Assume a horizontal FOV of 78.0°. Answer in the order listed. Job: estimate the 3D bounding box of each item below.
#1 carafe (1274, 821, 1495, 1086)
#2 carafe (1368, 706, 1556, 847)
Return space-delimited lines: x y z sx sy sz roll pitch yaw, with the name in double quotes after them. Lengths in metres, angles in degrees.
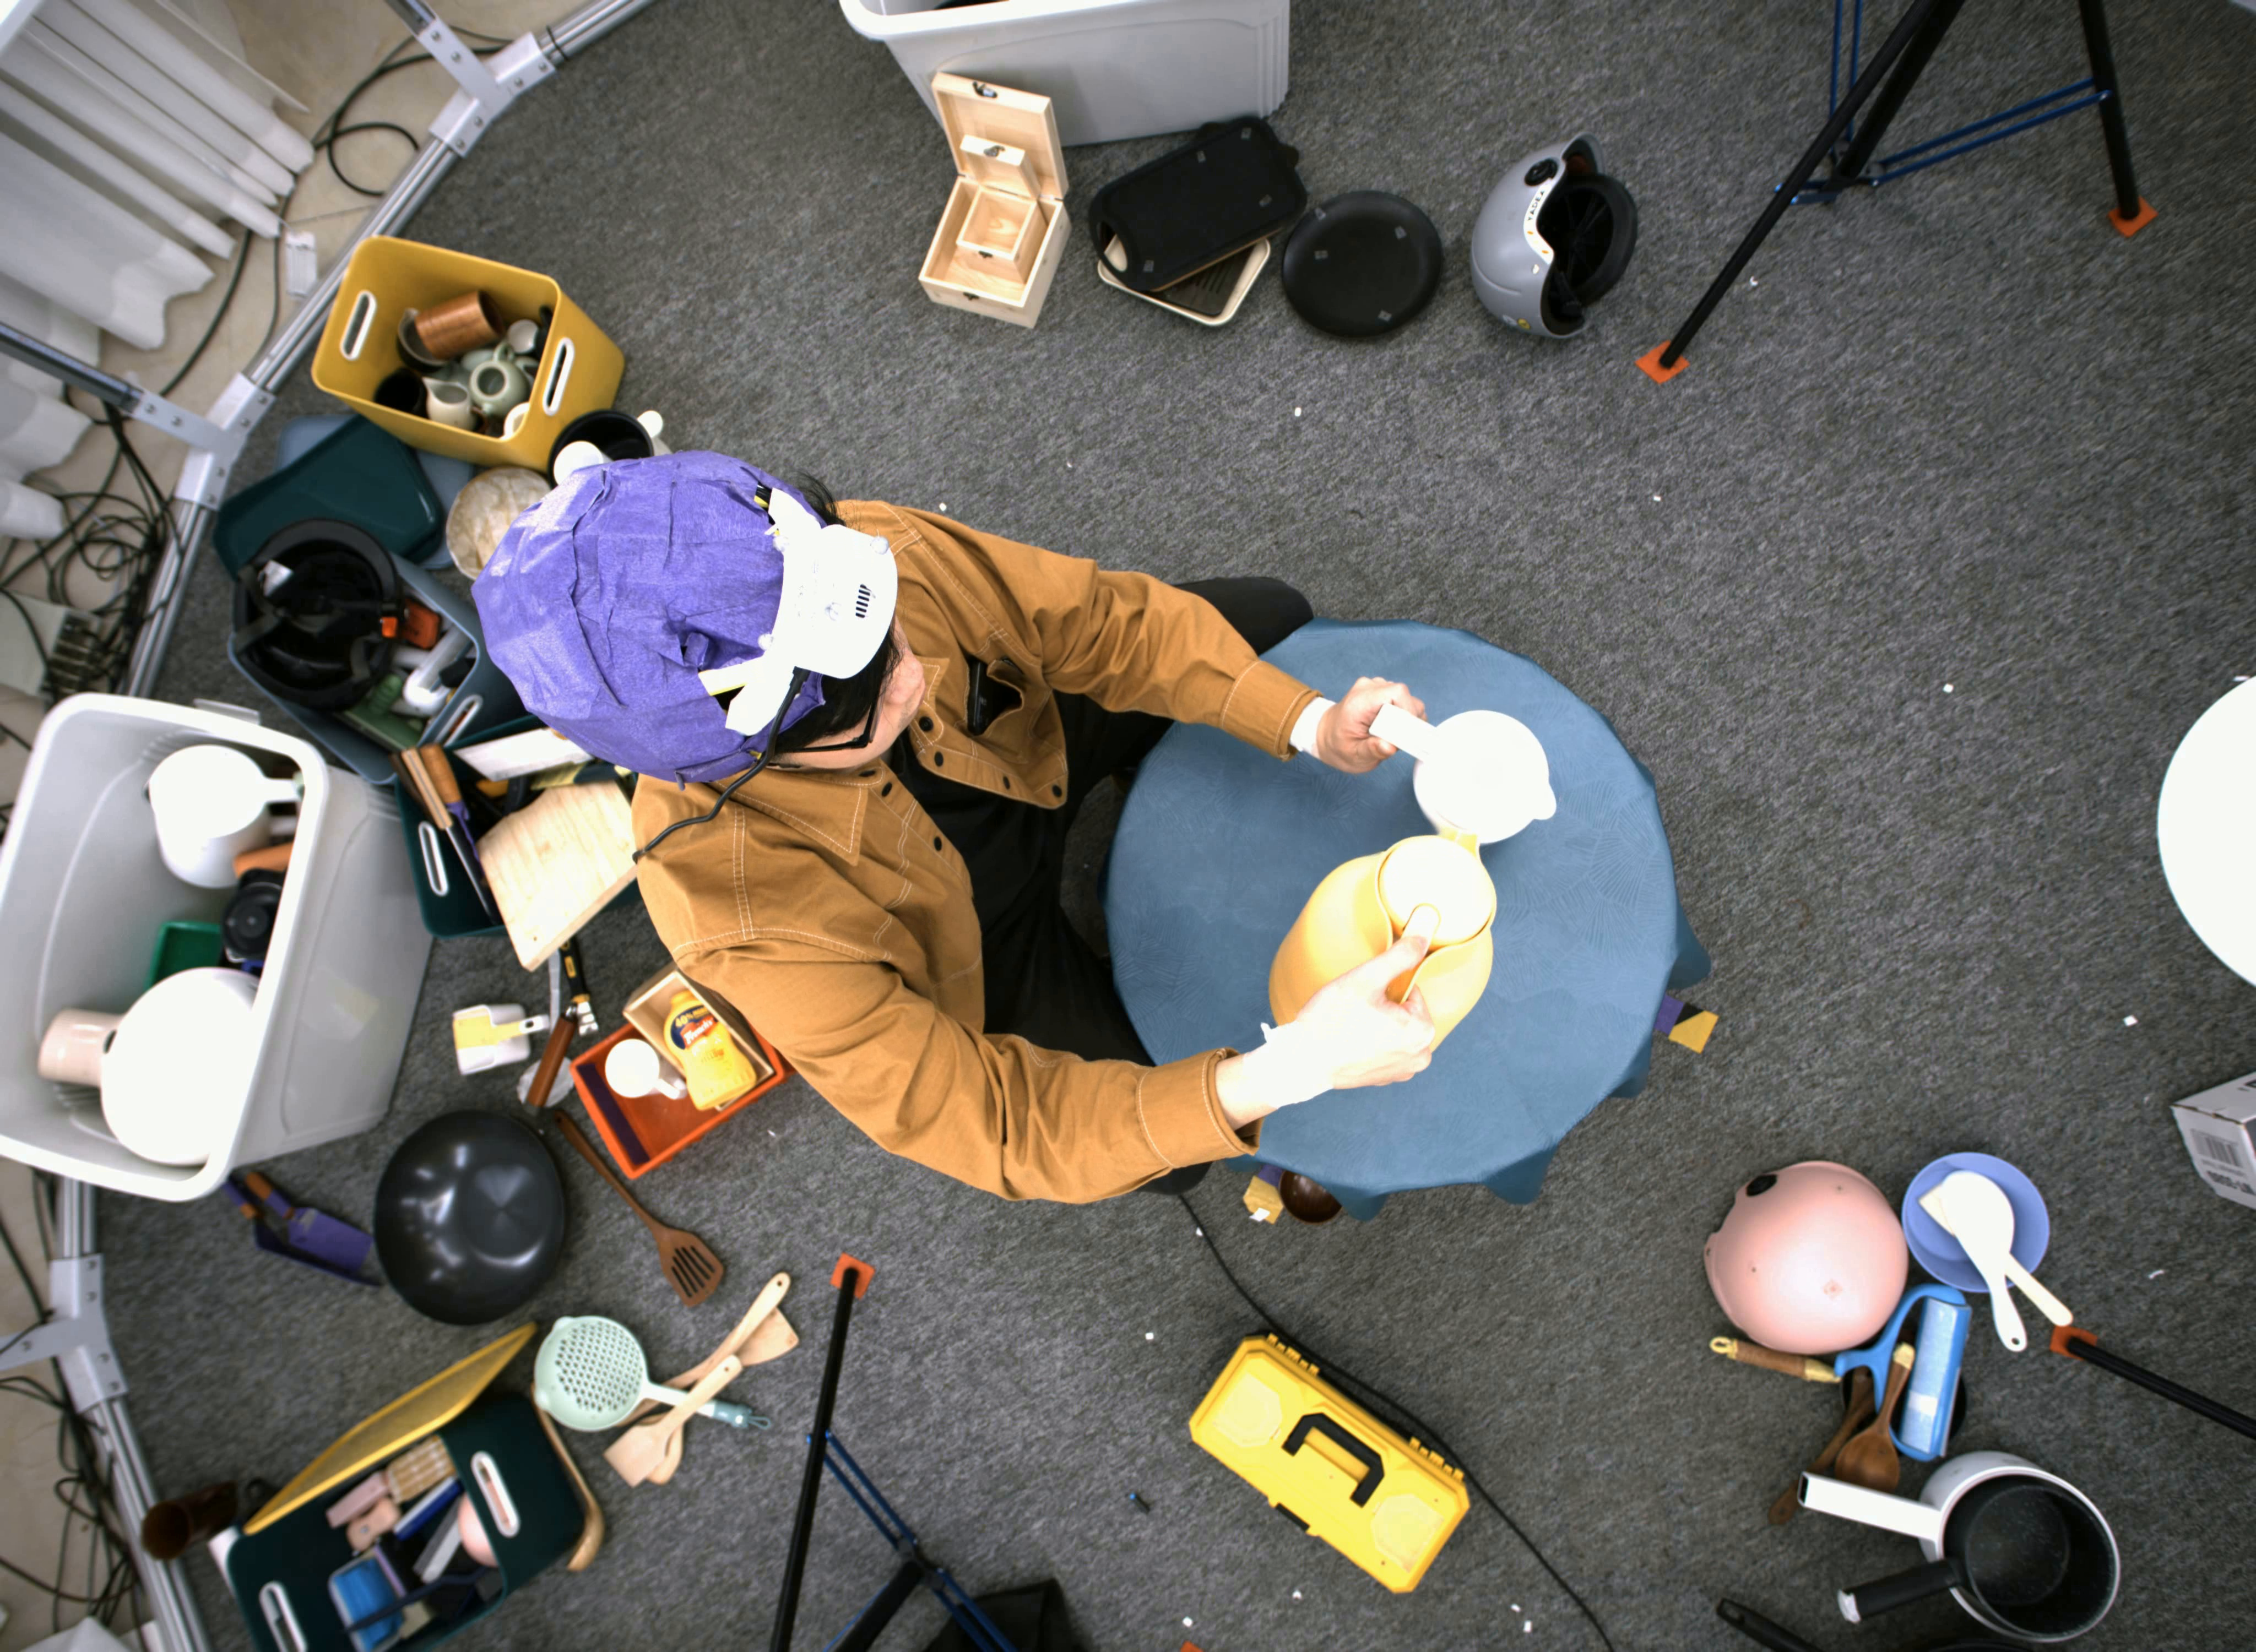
0.211 0.120 1.149 0.163 0.266 0.198 29 62 10 "carafe"
0.307 -0.049 1.272 0.172 0.267 0.125 30 98 12 "carafe"
